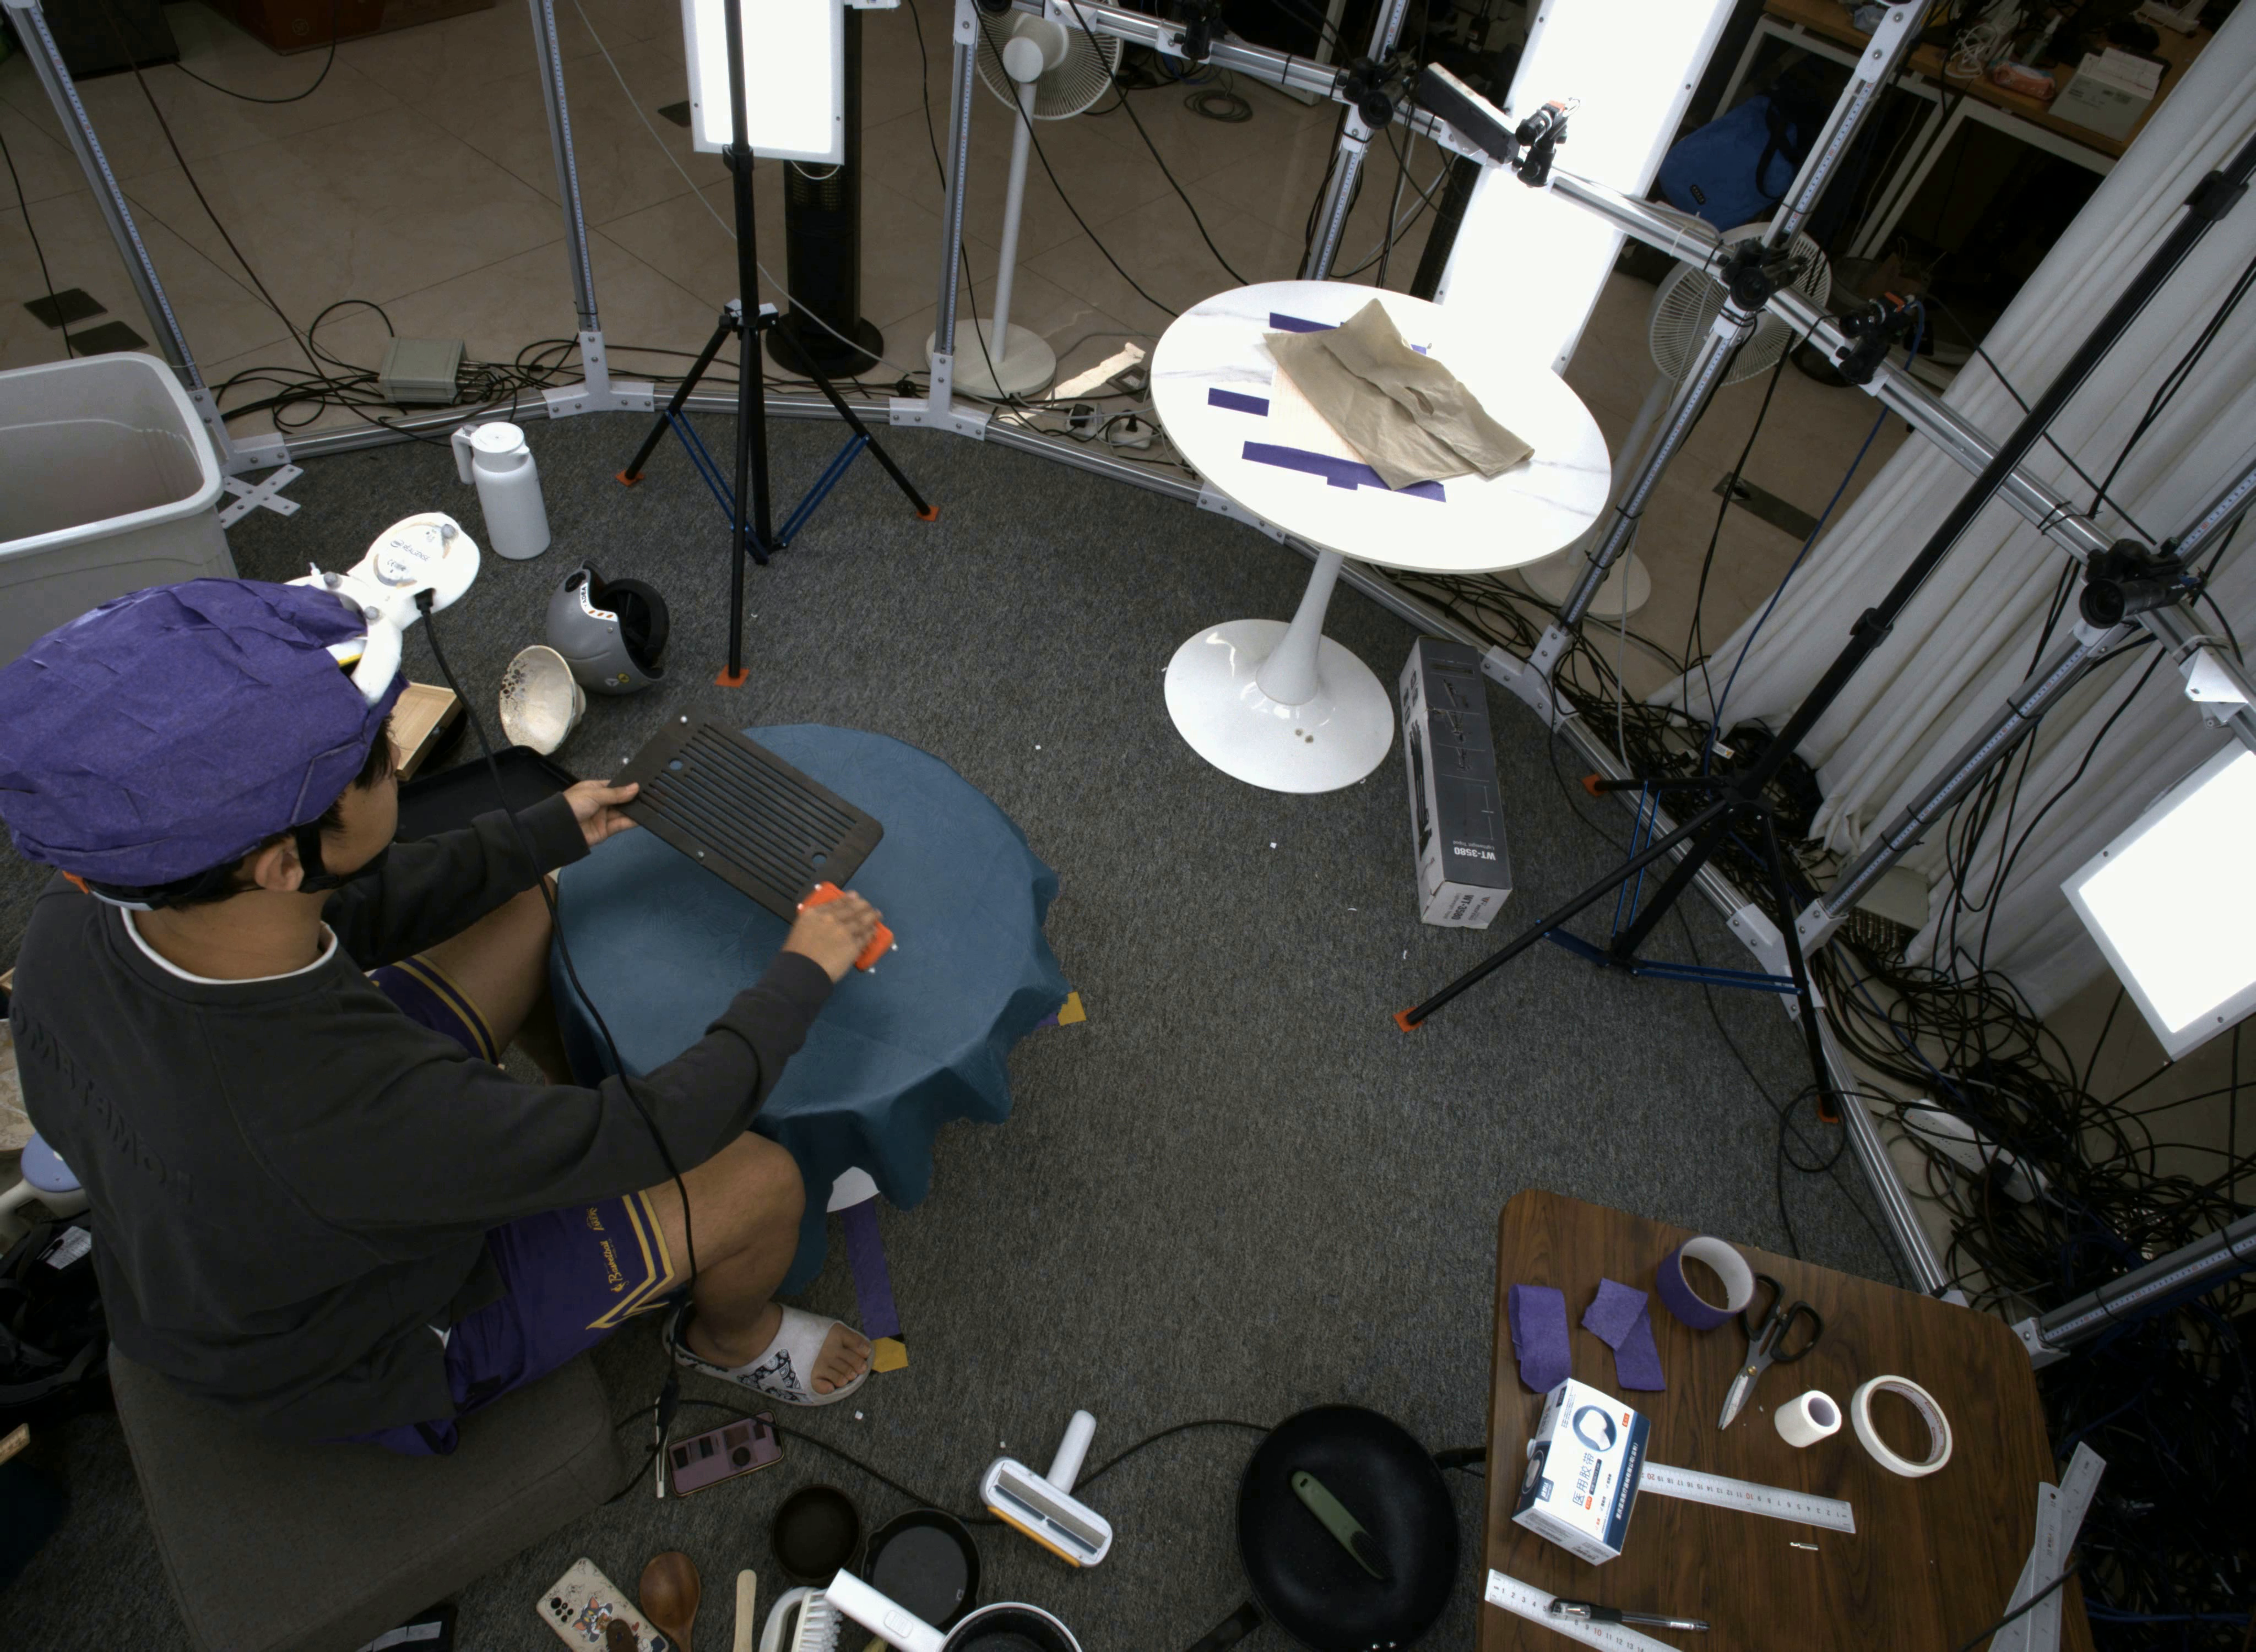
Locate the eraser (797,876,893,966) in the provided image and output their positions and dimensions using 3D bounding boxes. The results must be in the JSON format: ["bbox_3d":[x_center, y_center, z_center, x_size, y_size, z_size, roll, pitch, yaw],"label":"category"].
[{"bbox_3d":[-0.334,0.110,1.529,0.108,0.023,0.059,38,63,-1],"label":"eraser"}]

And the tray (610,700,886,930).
[{"bbox_3d":[-0.463,-0.017,1.572,0.304,0.019,0.169,33,63,1],"label":"tray"}]
